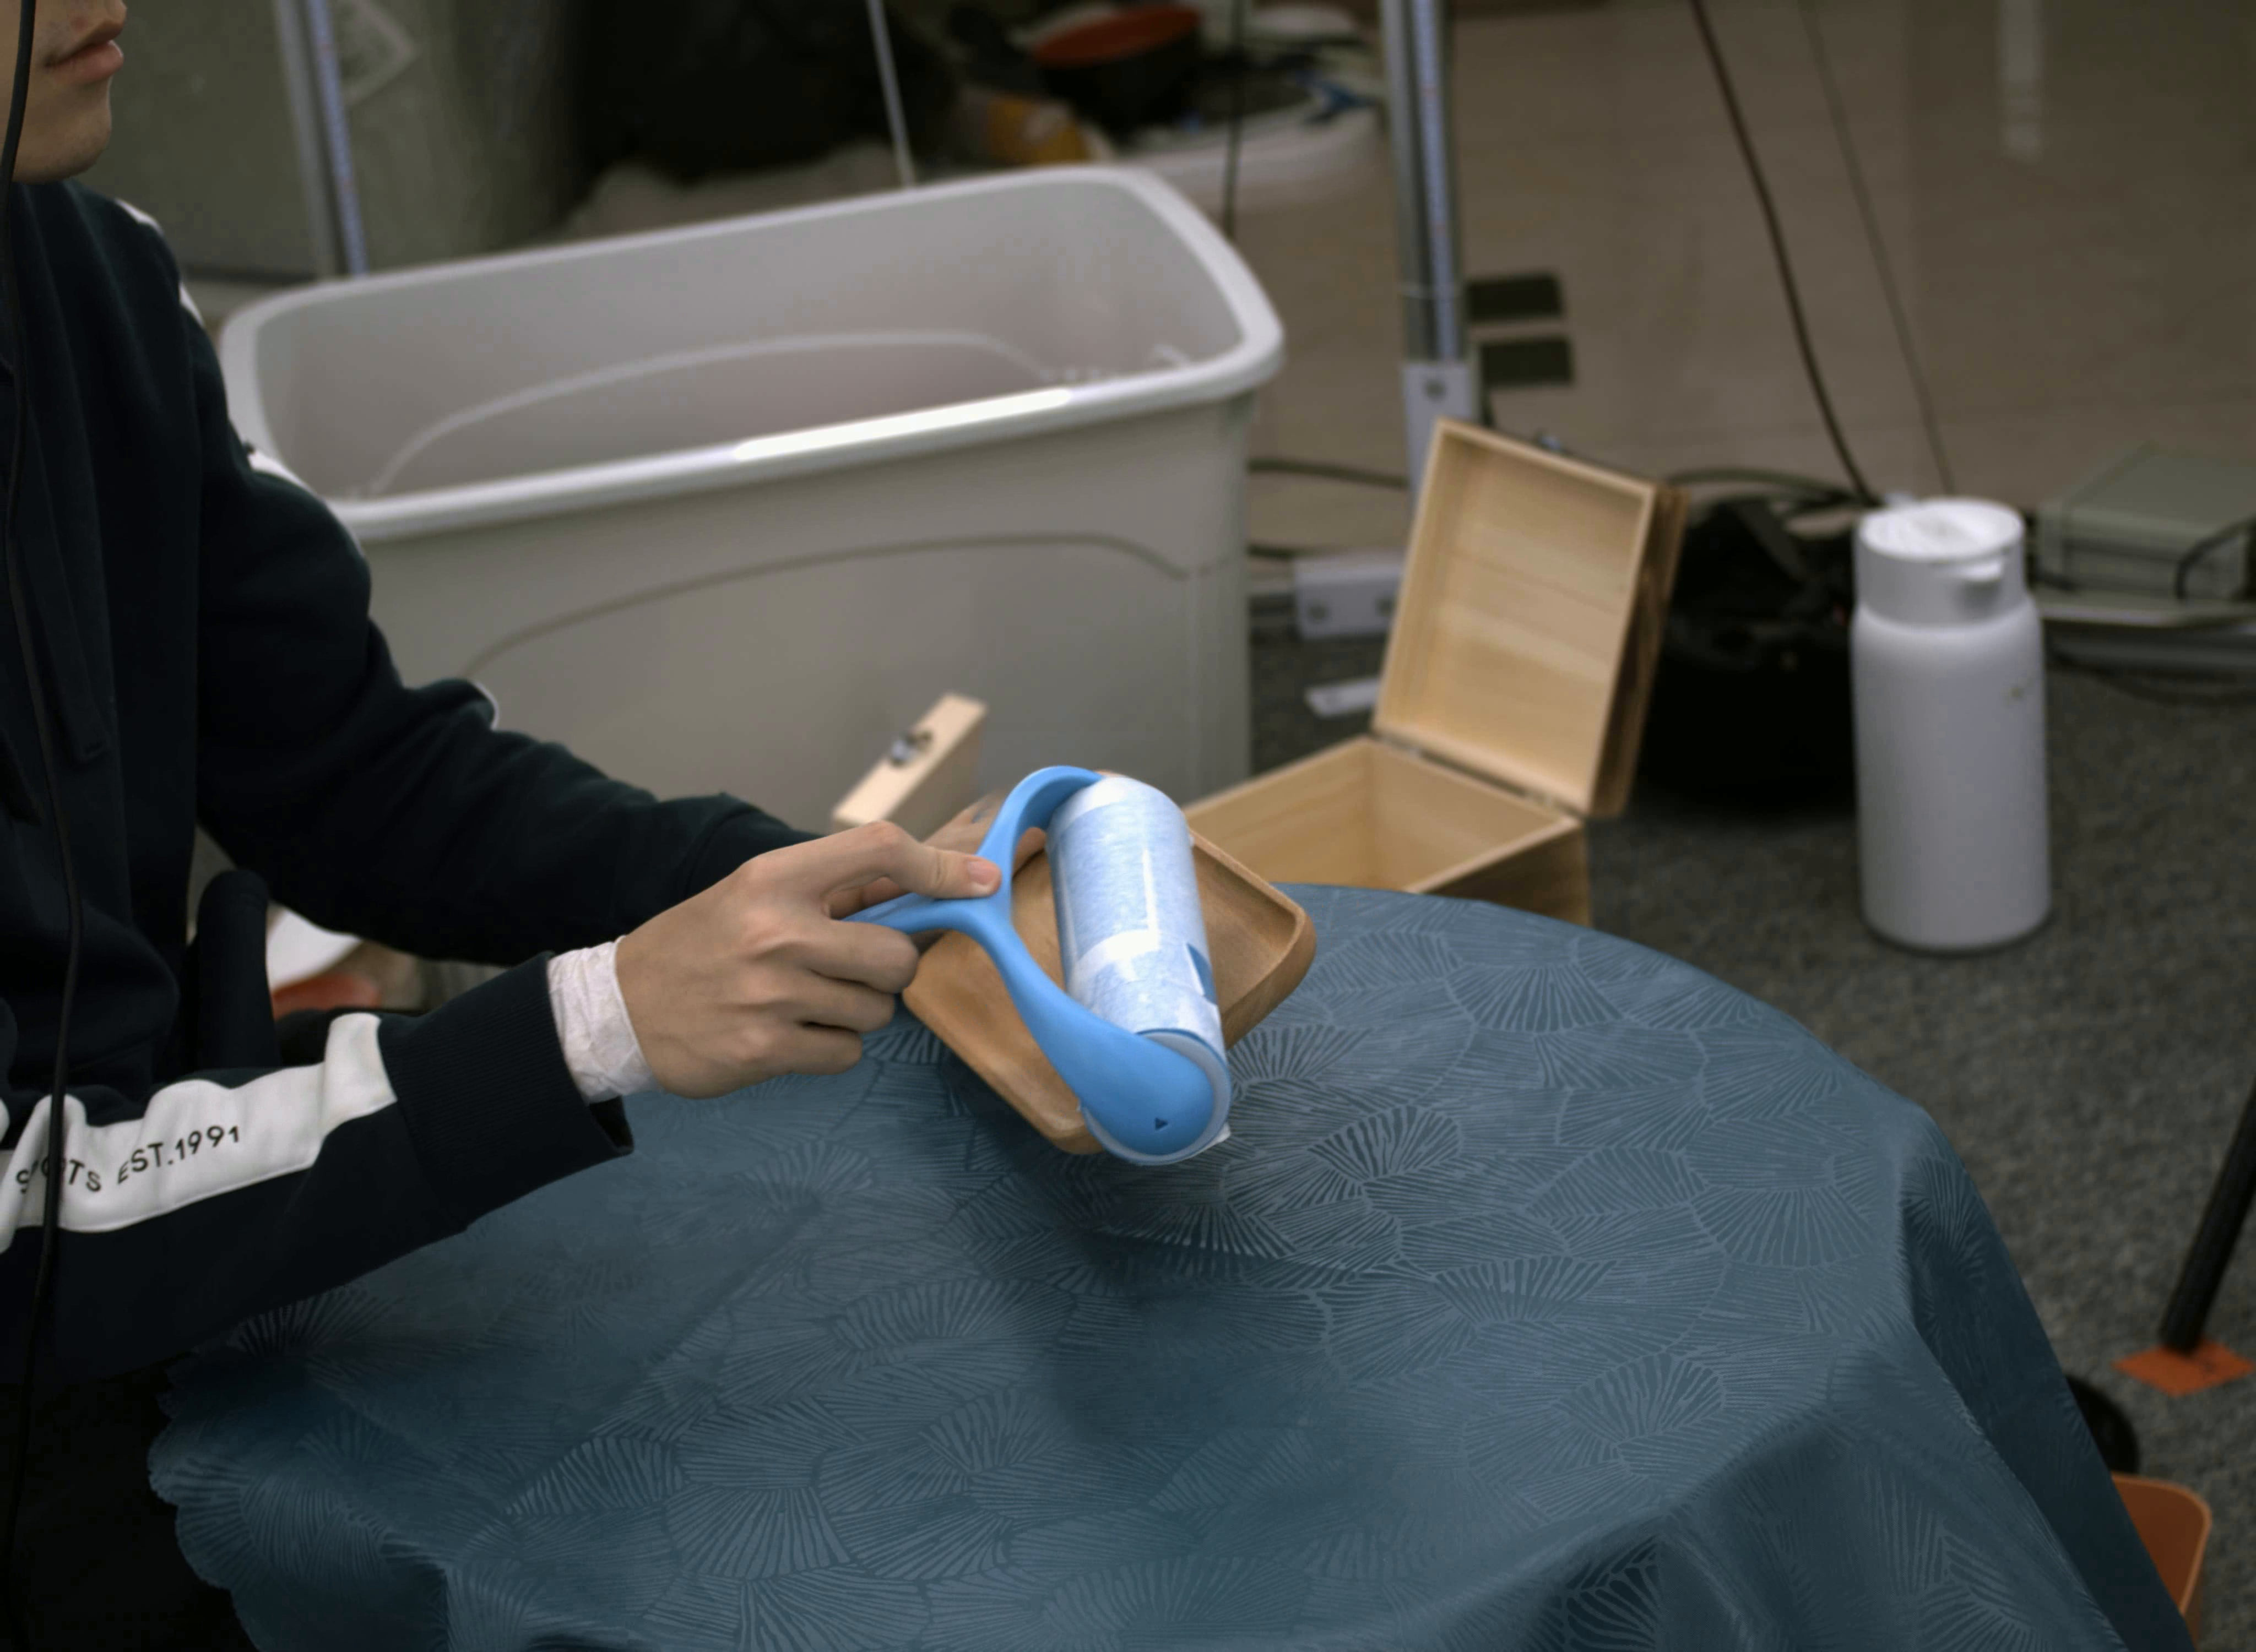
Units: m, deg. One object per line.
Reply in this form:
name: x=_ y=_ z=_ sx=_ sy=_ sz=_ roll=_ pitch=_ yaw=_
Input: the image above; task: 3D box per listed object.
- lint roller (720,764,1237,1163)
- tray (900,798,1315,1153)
lint roller: x=-0.056 y=0.052 z=2.023 sx=0.180 sy=0.069 sz=0.225 roll=-3 pitch=30 yaw=-6
tray: x=-0.009 y=0.054 z=2.158 sx=0.130 sy=0.023 sz=0.248 roll=-44 pitch=22 yaw=-3
